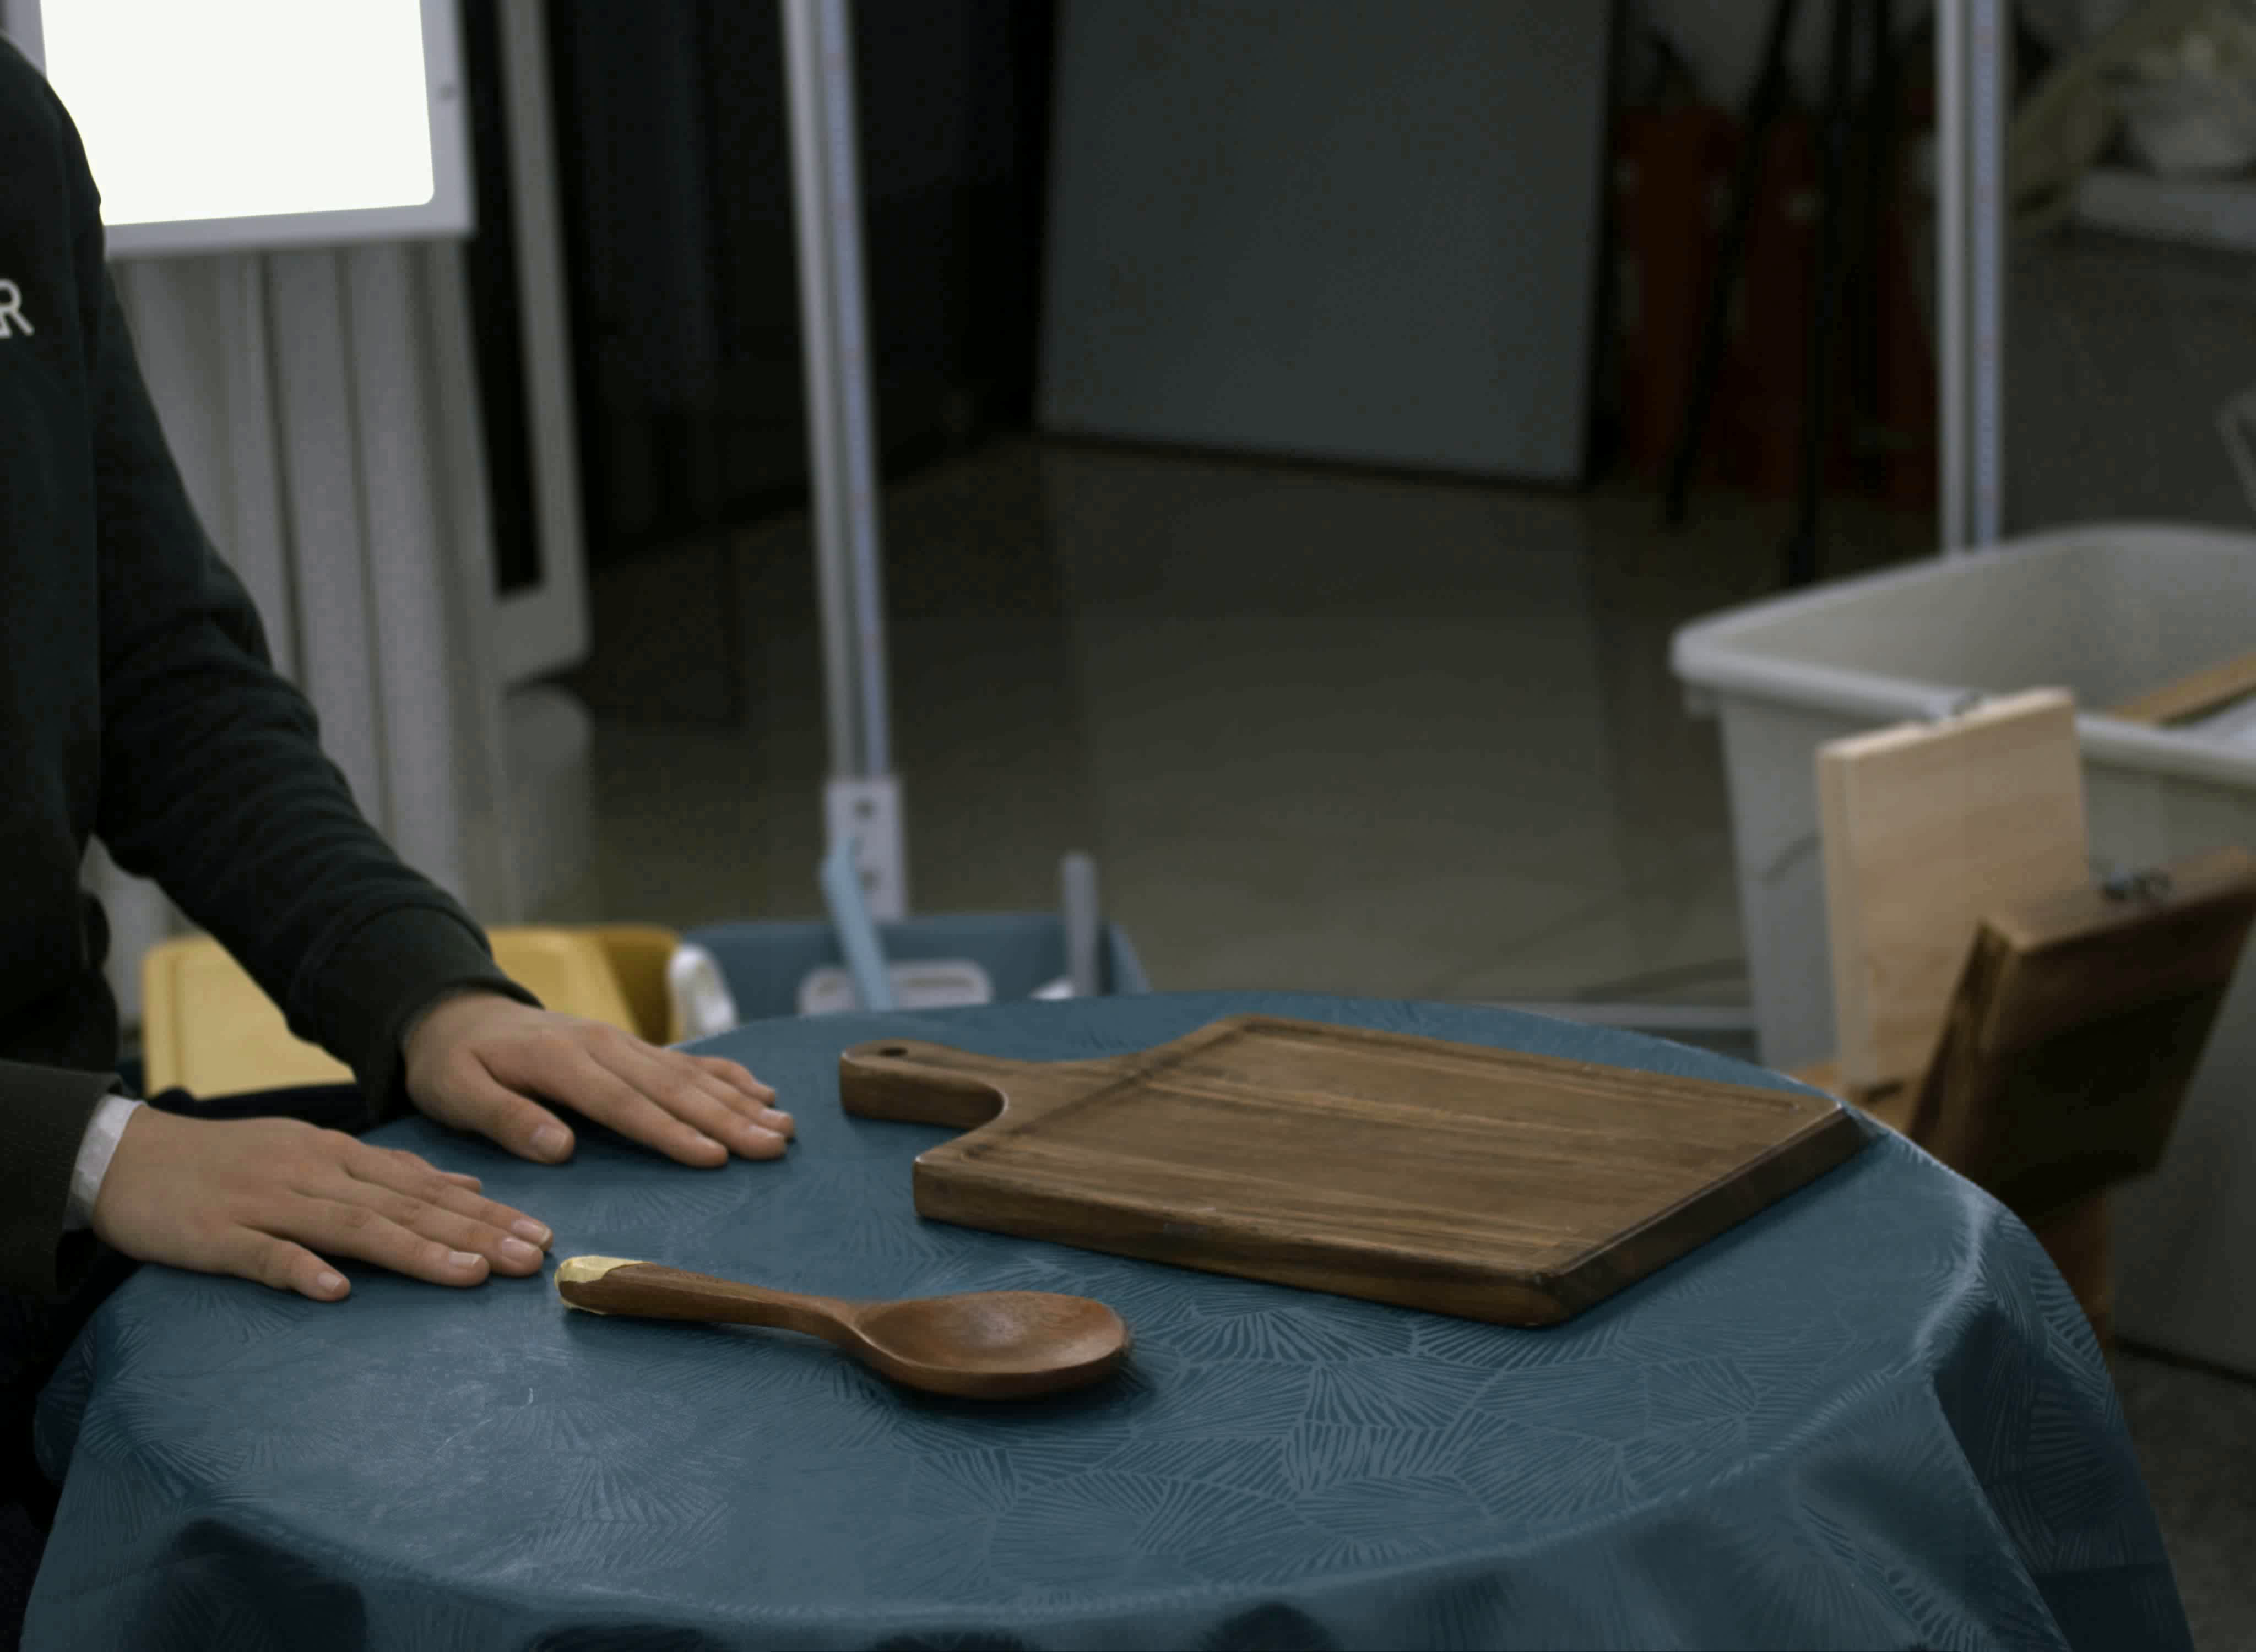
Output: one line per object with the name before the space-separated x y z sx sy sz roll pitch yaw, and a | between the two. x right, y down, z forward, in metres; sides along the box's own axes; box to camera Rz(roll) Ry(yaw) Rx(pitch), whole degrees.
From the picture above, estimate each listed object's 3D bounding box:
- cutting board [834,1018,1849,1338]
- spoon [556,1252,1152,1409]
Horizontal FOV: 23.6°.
cutting board | 0.044 0.106 1.785 0.354 0.023 0.197 6 18 37
spoon | -0.087 0.151 1.638 0.217 0.017 0.074 6 19 35
